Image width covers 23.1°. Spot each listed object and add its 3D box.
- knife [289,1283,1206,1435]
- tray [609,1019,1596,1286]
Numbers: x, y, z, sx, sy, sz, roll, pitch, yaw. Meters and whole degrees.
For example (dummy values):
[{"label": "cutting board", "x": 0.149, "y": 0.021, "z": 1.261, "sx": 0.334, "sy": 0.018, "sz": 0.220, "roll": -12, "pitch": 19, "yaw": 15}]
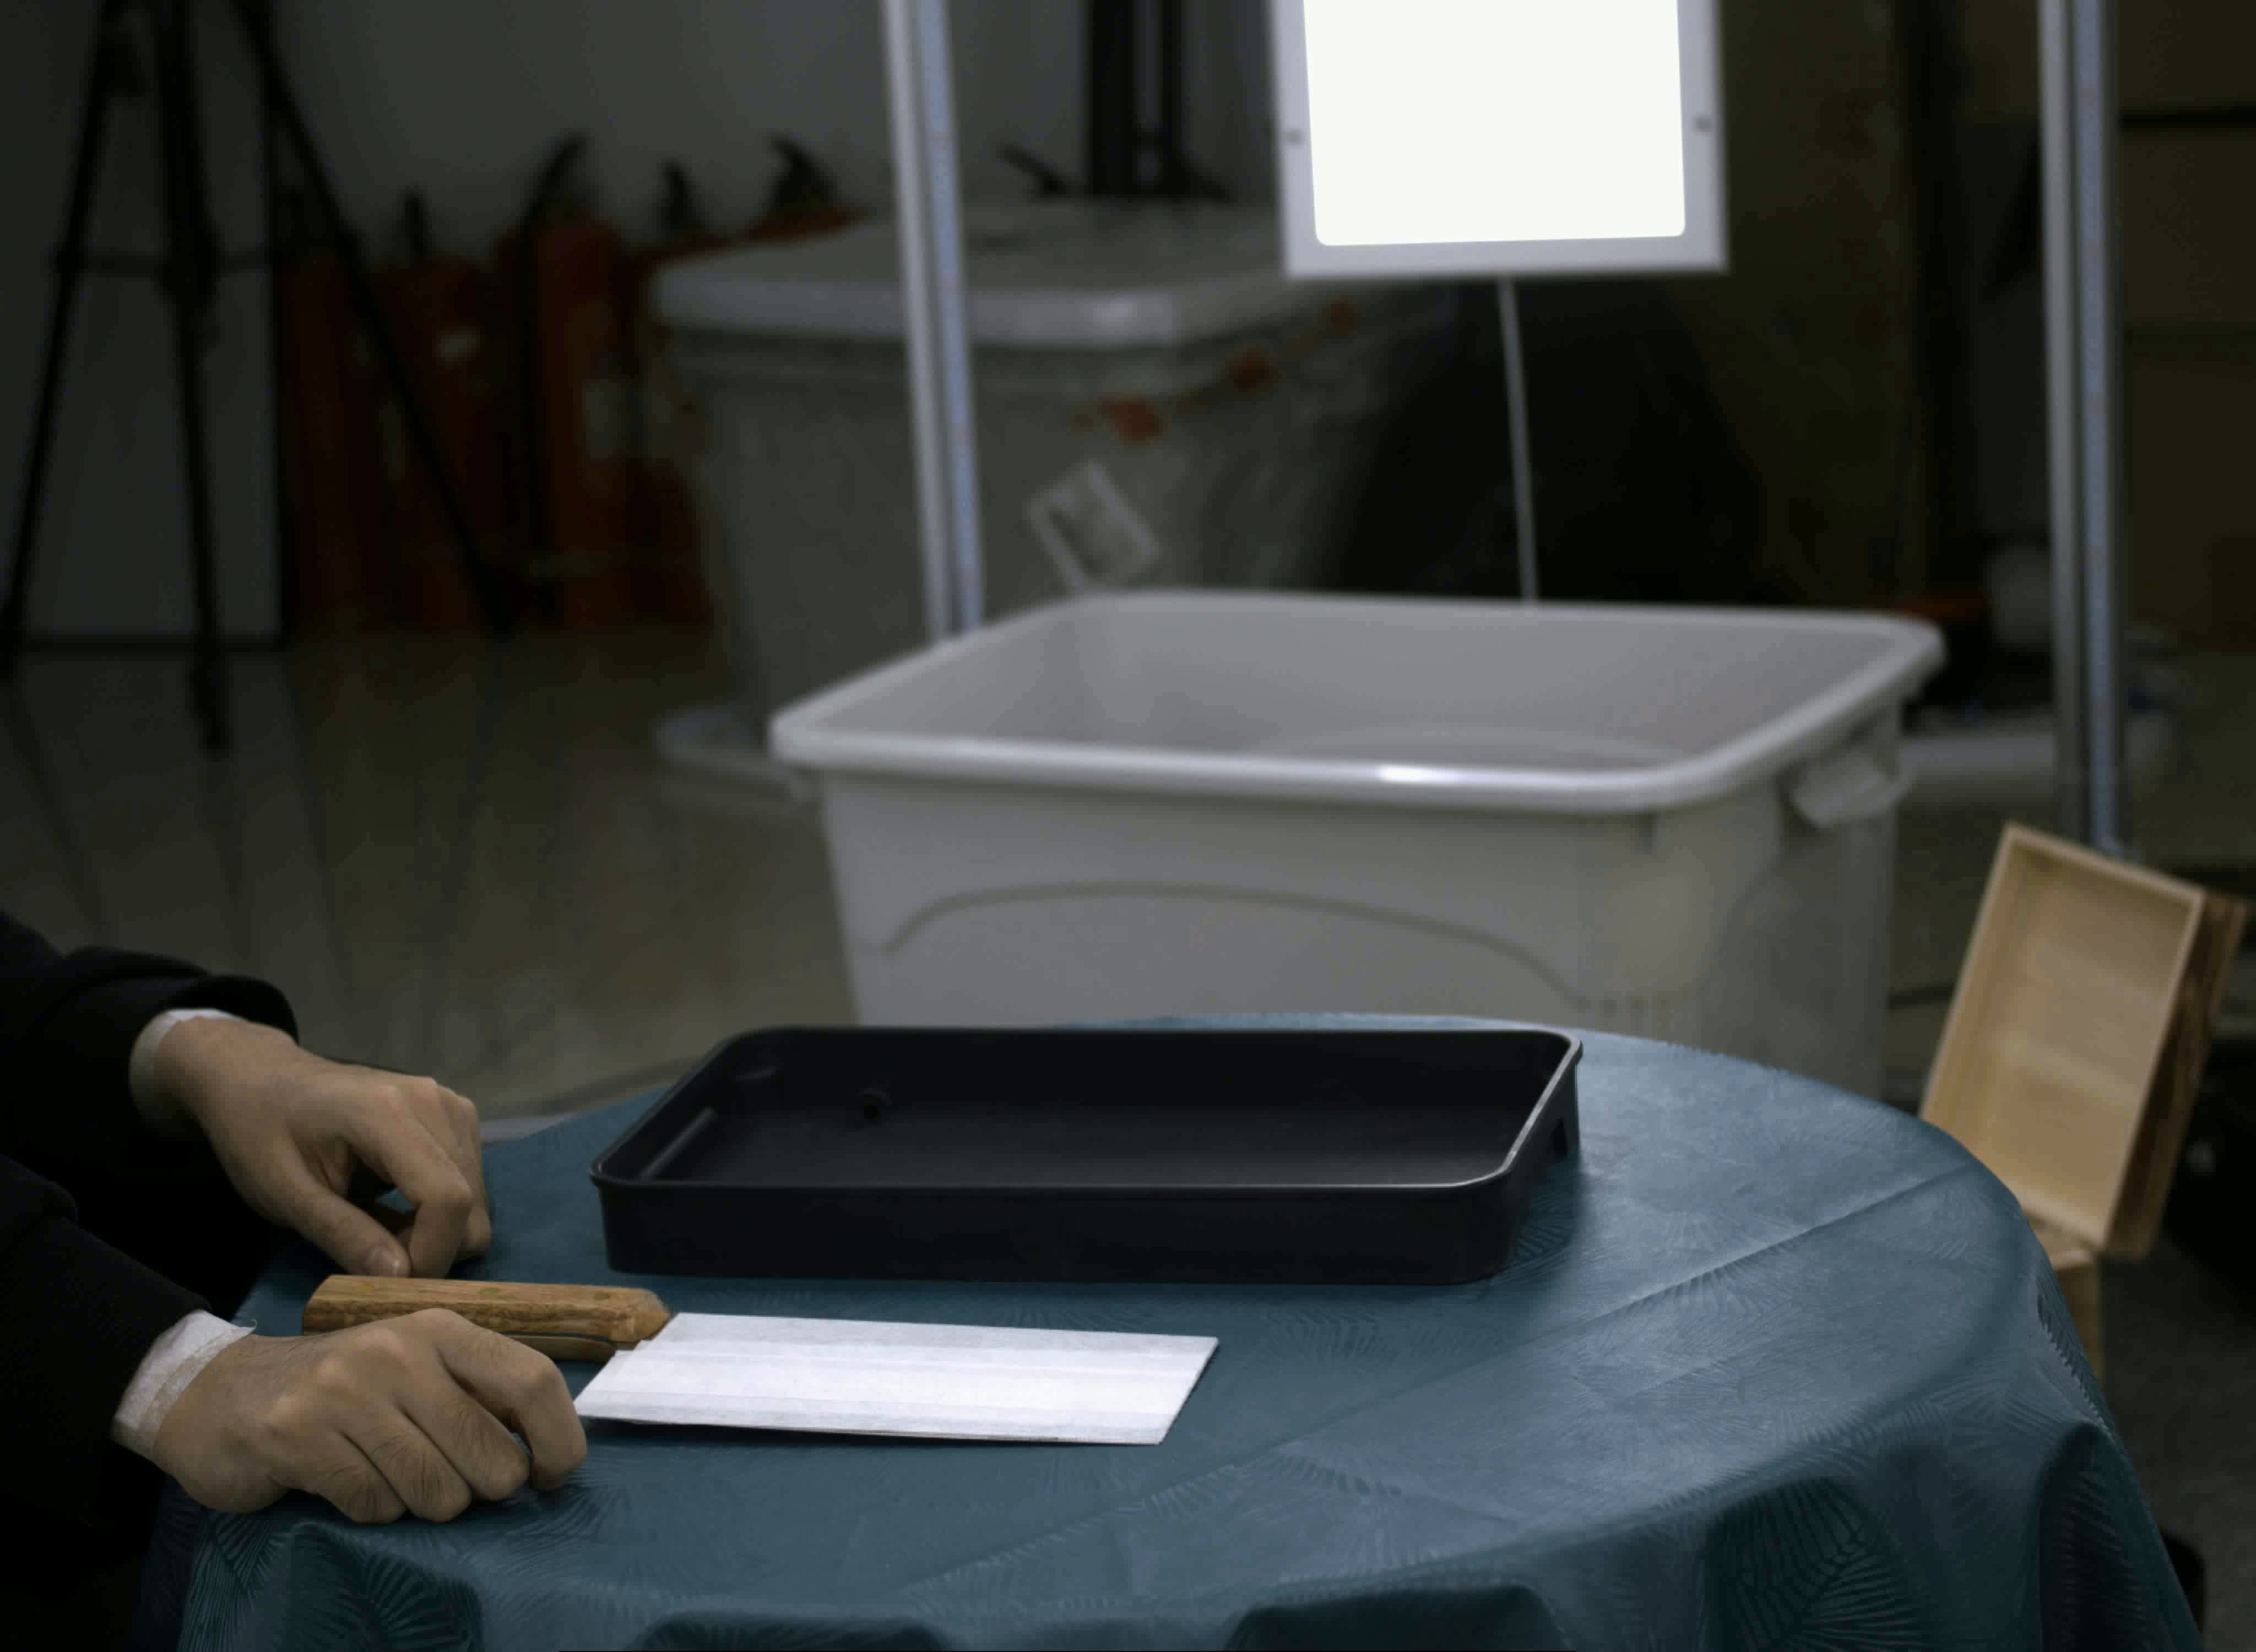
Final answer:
[{"label": "knife", "x": -0.128, "y": 0.170, "z": 1.735, "sx": 0.308, "sy": 0.021, "sz": 0.091, "roll": 1, "pitch": 17, "yaw": 15}, {"label": "tray", "x": -0.005, "y": 0.111, "z": 1.888, "sx": 0.321, "sy": 0.037, "sz": 0.182, "roll": -2, "pitch": 15, "yaw": 15}]
